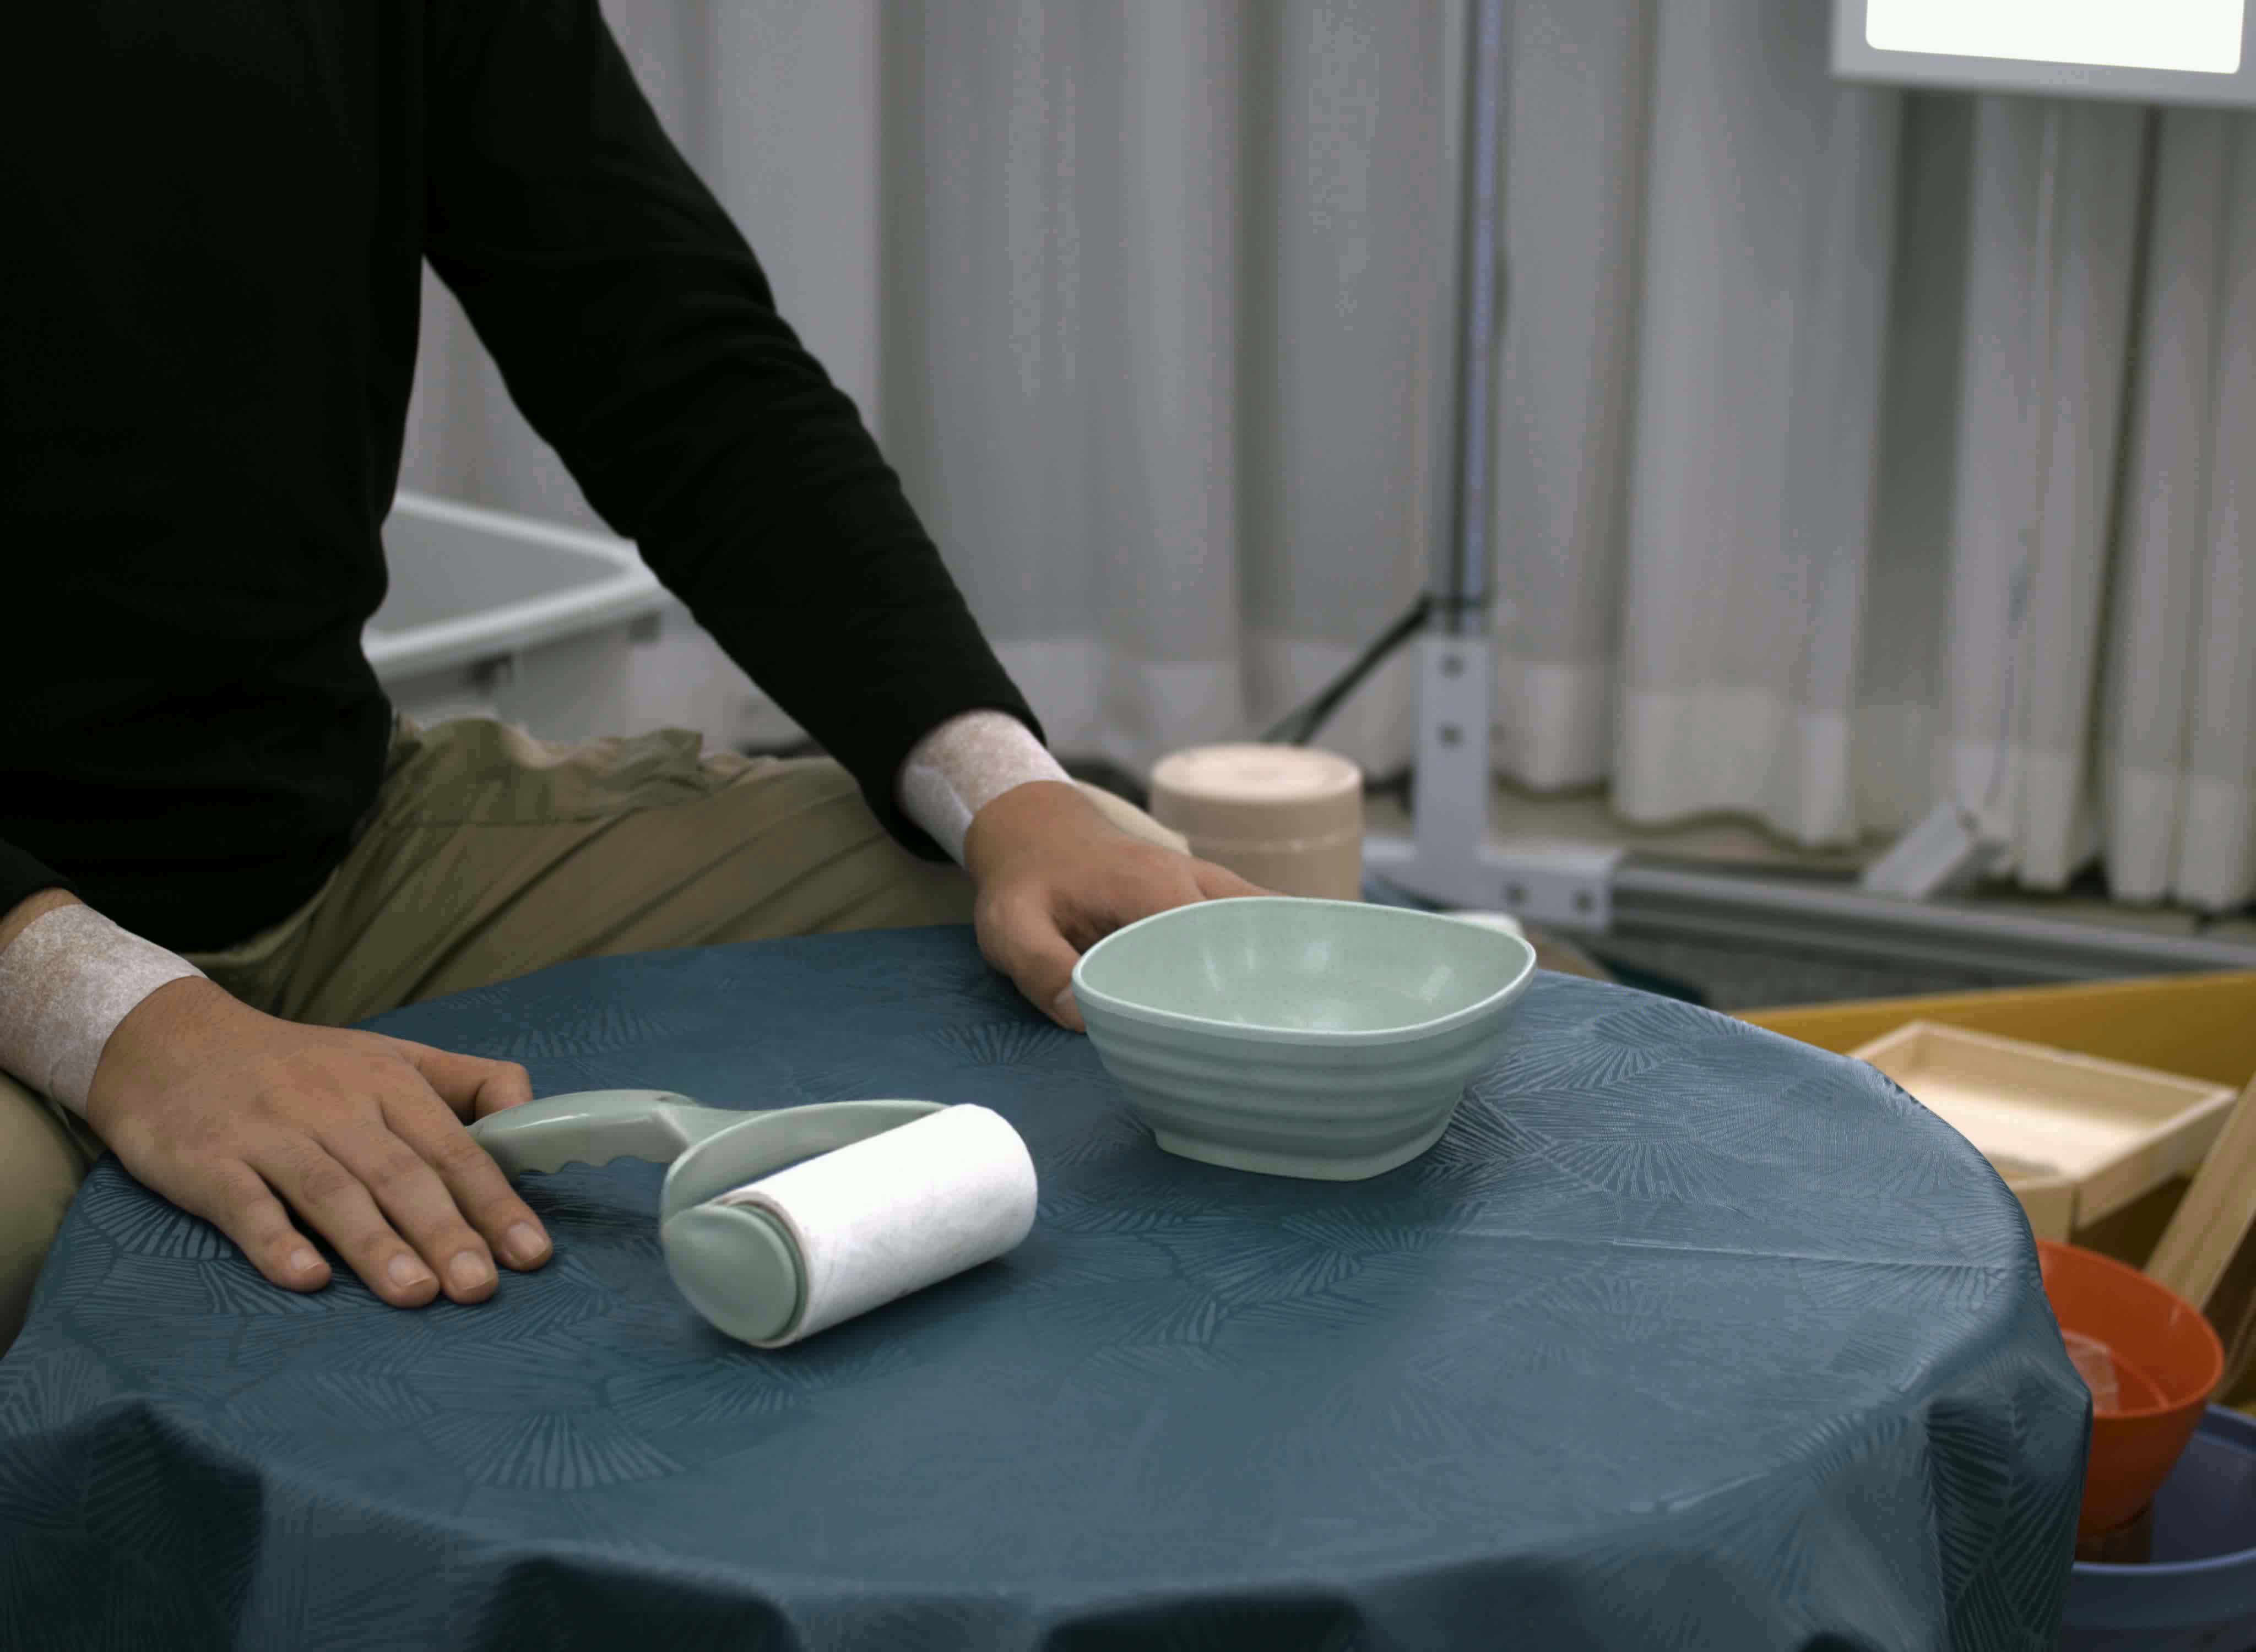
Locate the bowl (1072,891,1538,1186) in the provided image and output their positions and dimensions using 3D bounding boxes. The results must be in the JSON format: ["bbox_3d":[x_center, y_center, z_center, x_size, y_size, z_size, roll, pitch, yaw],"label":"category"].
[{"bbox_3d":[0.056,0.070,1.668,0.151,0.059,0.150,1,17,0],"label":"bowl"}]

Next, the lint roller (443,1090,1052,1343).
[{"bbox_3d":[-0.128,0.103,1.569,0.195,0.049,0.117,11,20,36],"label":"lint roller"}]
